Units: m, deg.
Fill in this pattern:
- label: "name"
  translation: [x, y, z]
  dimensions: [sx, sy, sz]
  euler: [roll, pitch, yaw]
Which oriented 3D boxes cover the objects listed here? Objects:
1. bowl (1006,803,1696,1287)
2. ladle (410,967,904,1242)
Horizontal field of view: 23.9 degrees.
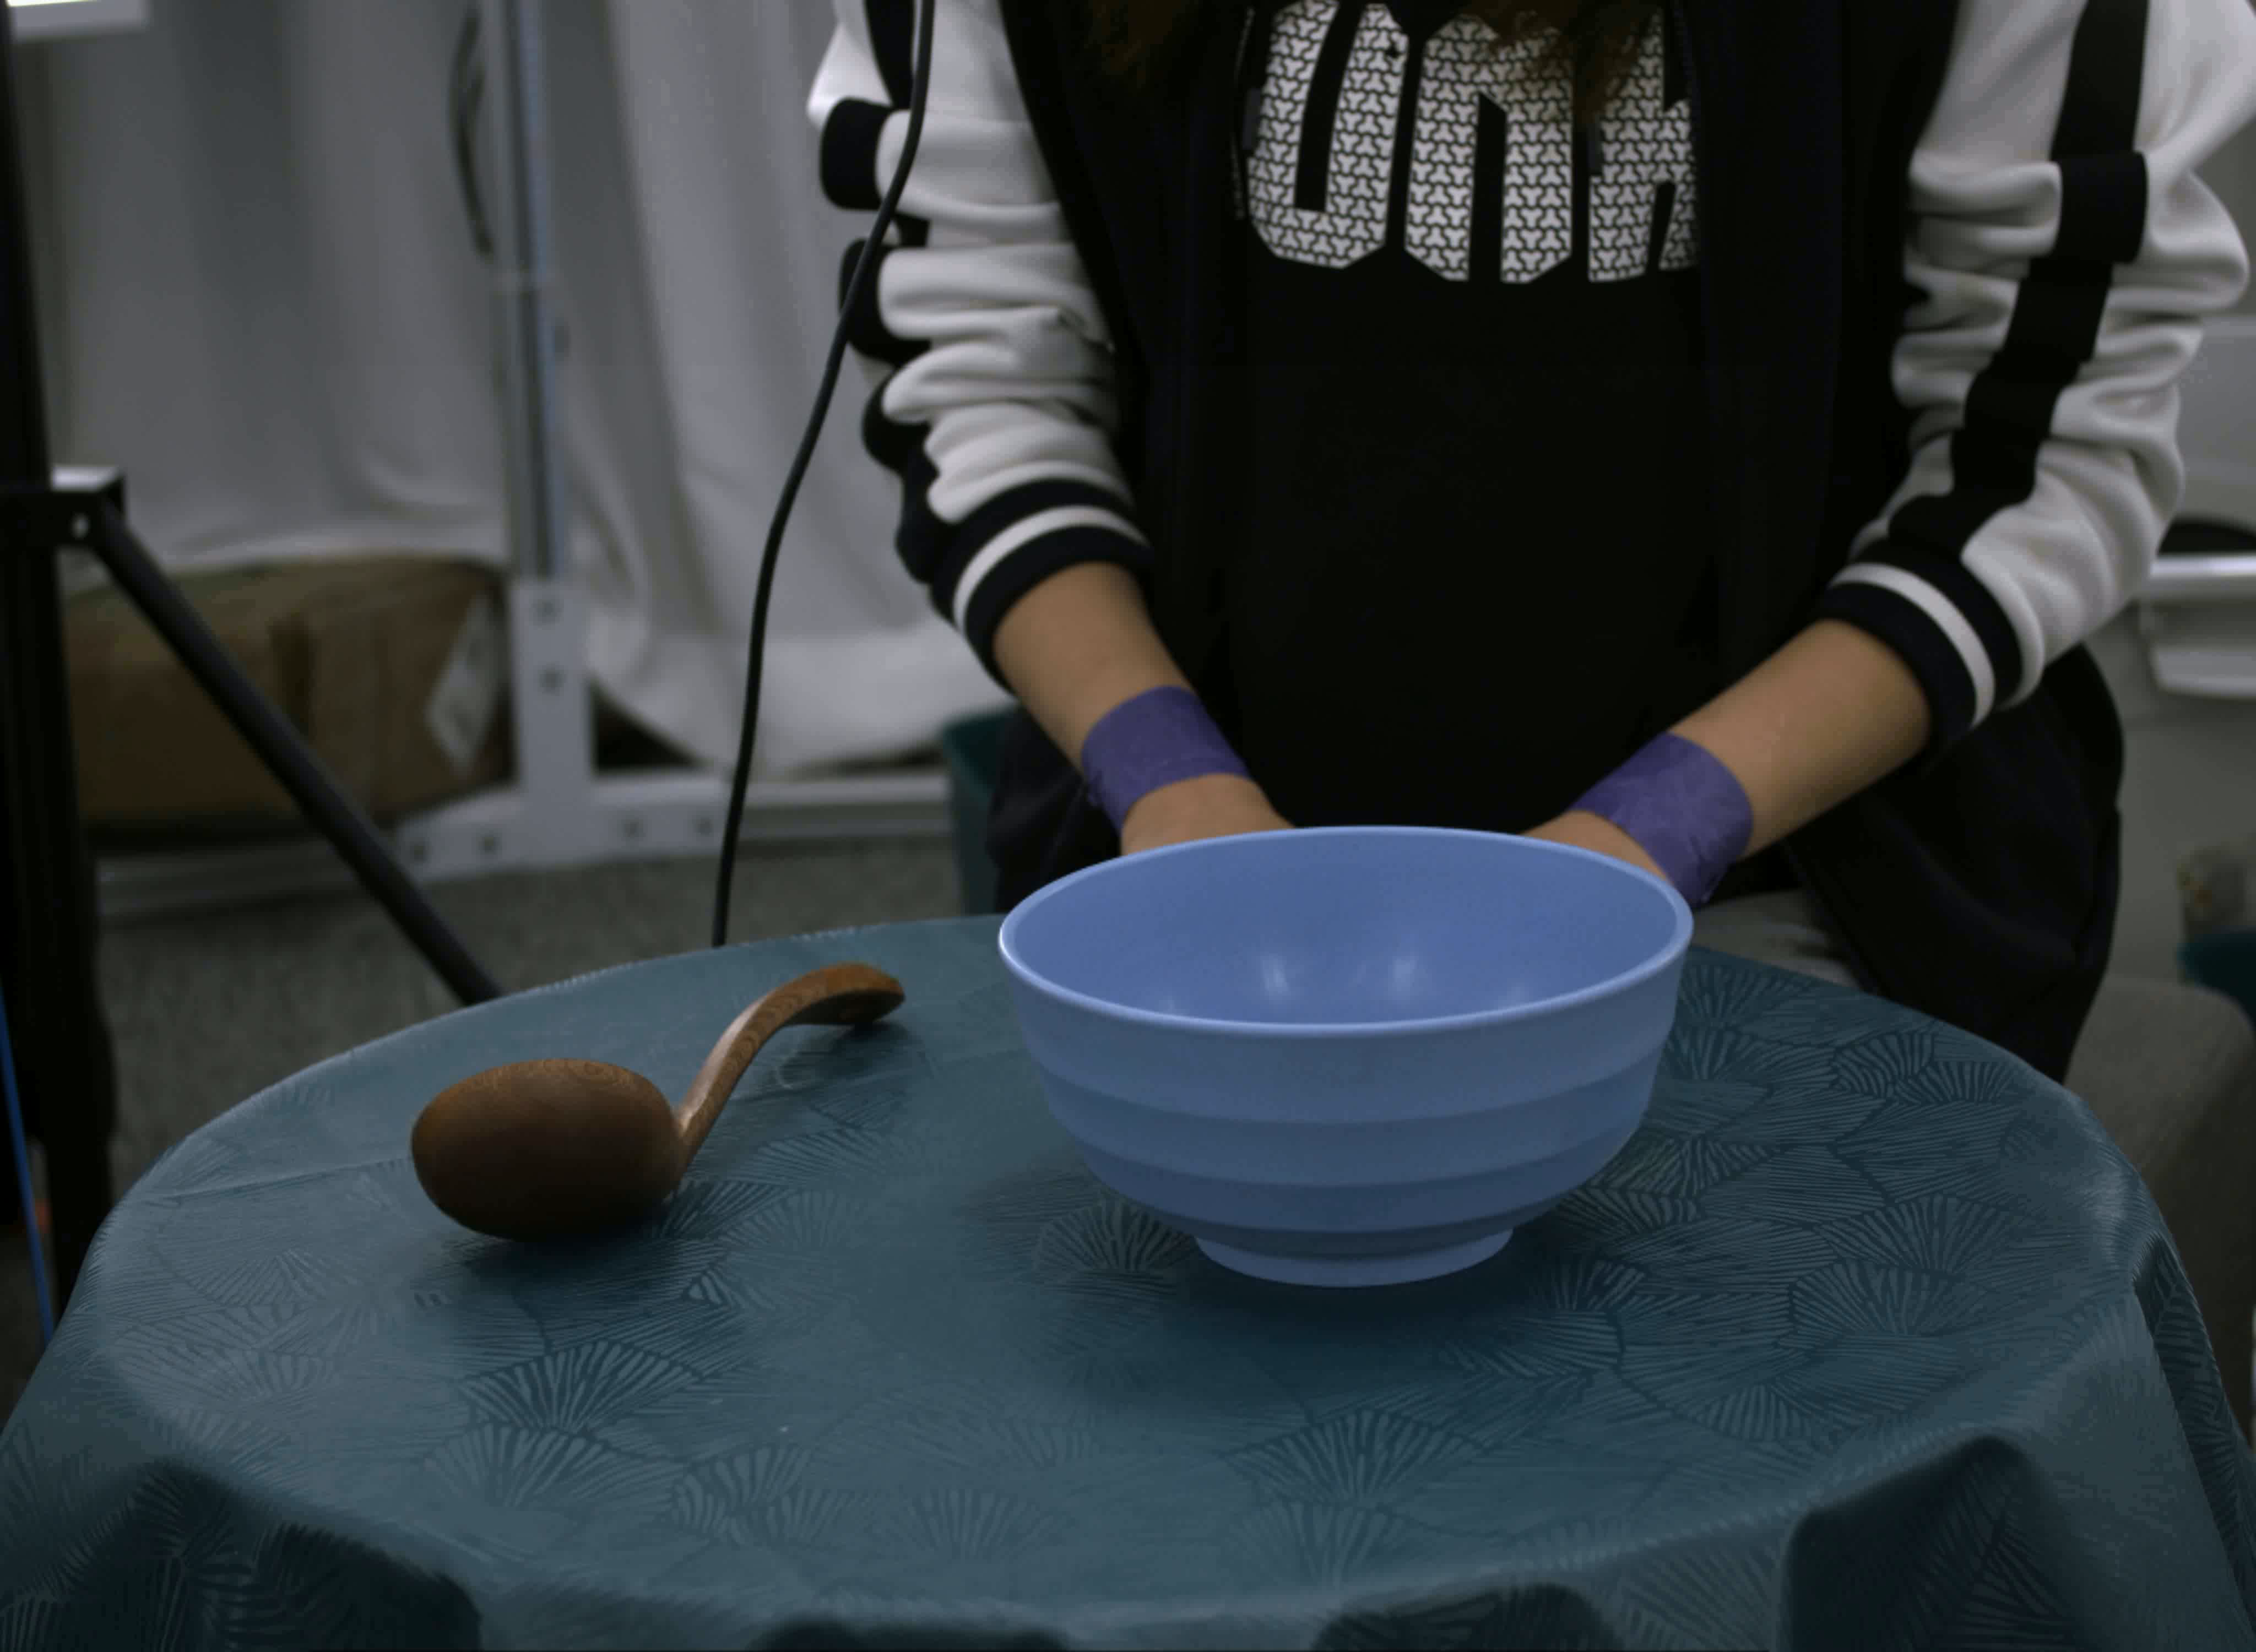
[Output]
- label: "bowl"
  translation: [0.068, 0.070, 1.509]
  dimensions: [0.196, 0.095, 0.197]
  euler: [-8, 17, 1]
- label: "ladle"
  translation: [-0.134, 0.067, 1.615]
  dimensions: [0.077, 0.065, 0.257]
  euler: [-26, 5, 25]
